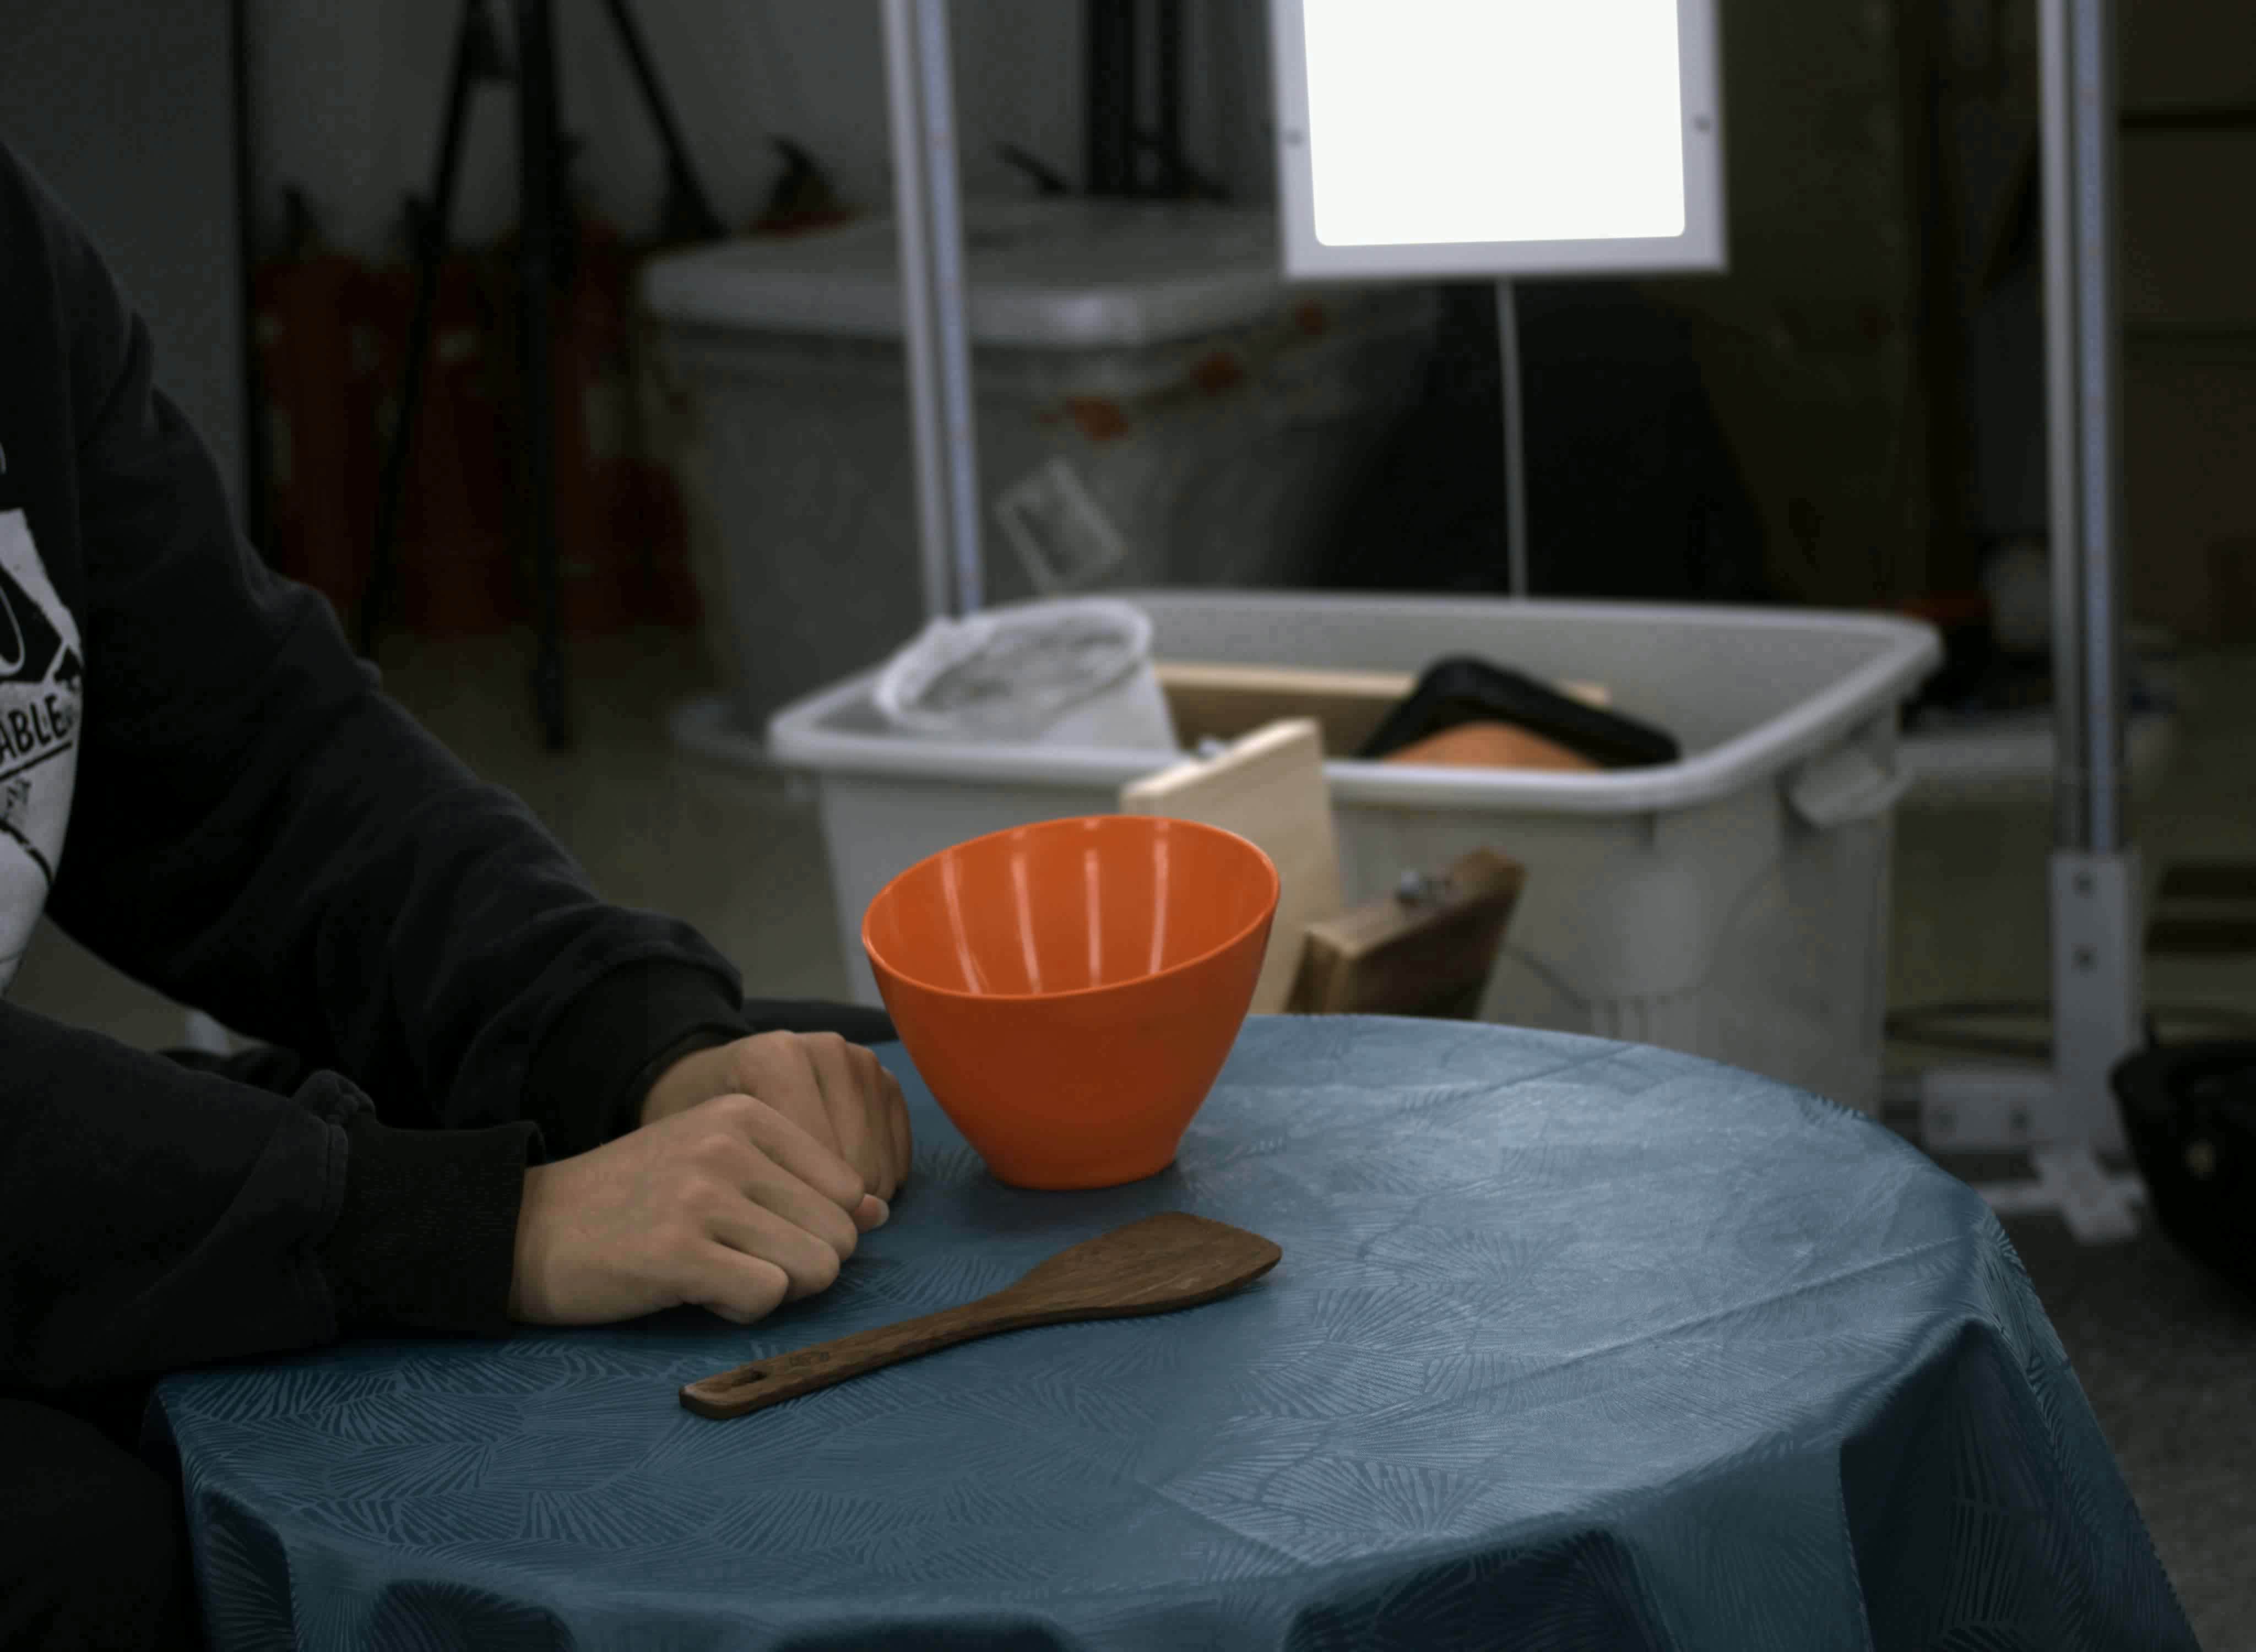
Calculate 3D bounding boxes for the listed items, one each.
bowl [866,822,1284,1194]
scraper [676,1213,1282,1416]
[{"bbox_3d":[-0.016,0.067,1.933,0.147,0.105,0.148,-4,14,0],"label":"bowl"},{"bbox_3d":[-0.050,0.159,1.768,0.206,0.011,0.077,-14,15,-30],"label":"scraper"}]
